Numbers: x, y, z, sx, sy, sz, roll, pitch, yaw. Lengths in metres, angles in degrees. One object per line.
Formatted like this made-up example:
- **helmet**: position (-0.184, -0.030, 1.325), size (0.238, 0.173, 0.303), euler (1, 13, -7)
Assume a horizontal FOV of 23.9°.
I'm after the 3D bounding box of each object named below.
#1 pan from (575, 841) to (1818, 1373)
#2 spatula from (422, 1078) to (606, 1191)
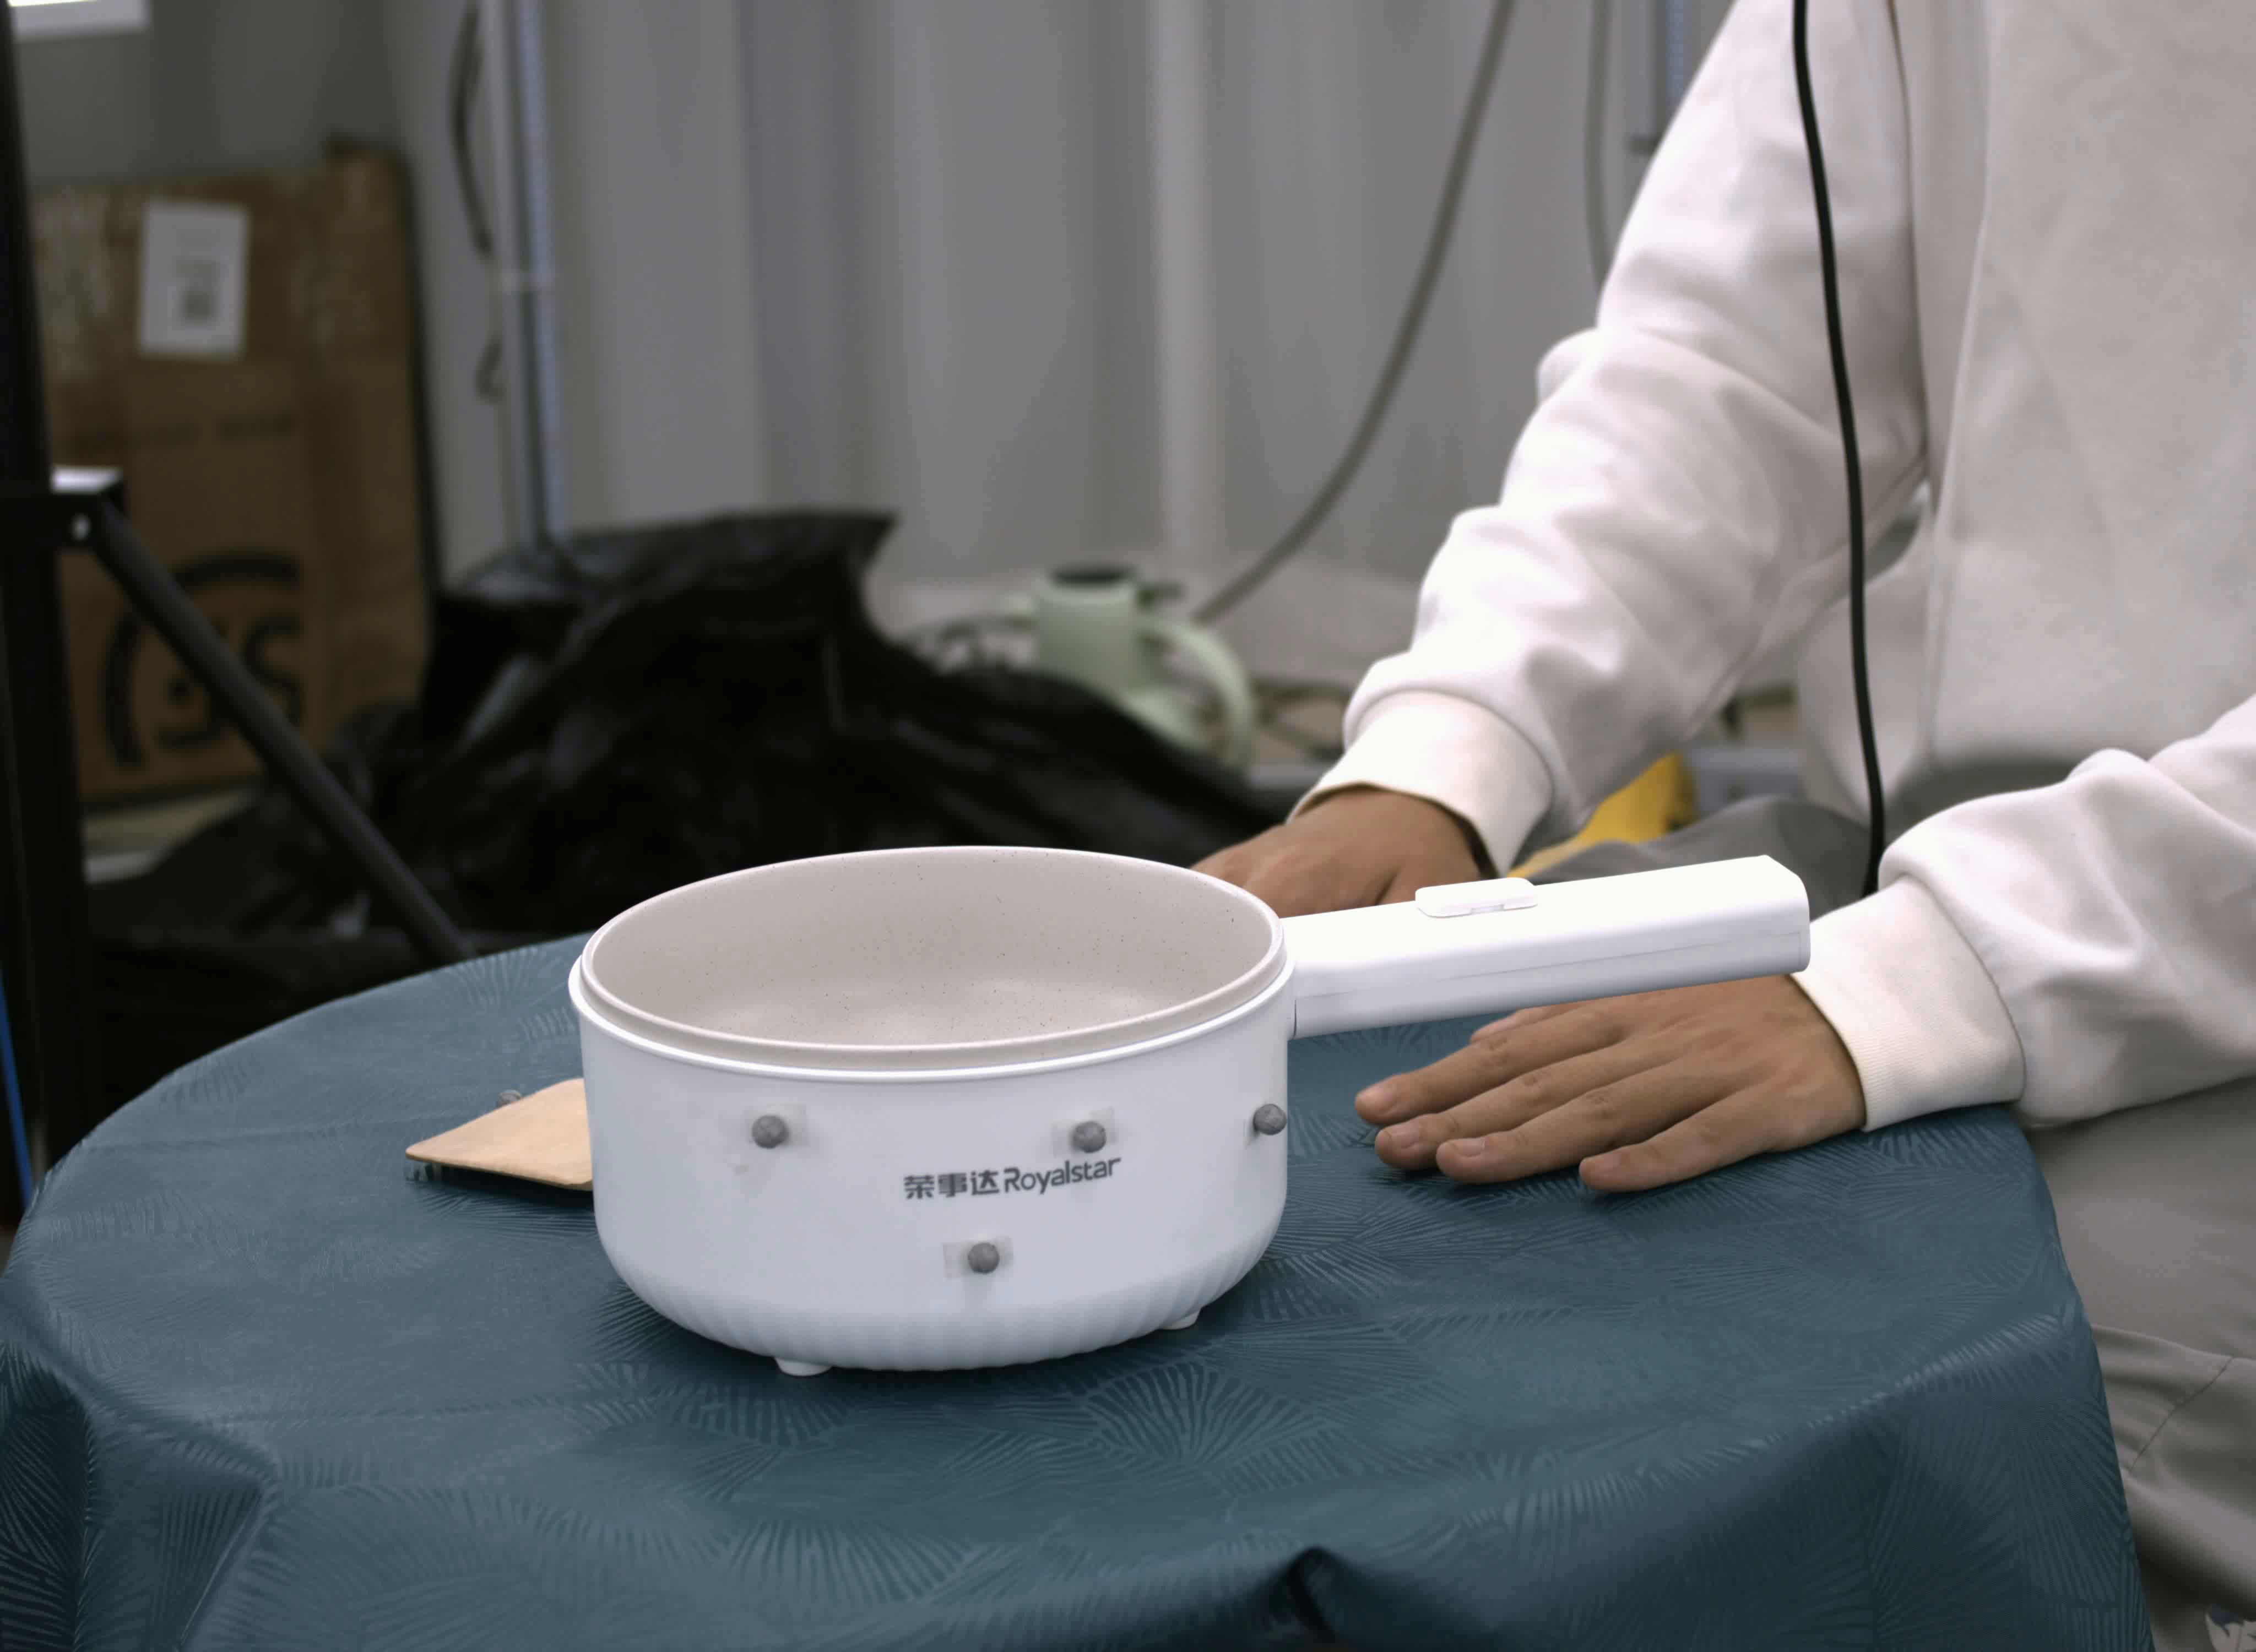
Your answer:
- **pan**: position (0.022, 0.072, 1.497), size (0.349, 0.102, 0.204), euler (-6, 16, -13)
- **spatula**: position (-0.111, 0.069, 1.700), size (0.073, 0.010, 0.287), euler (6, 18, 32)
